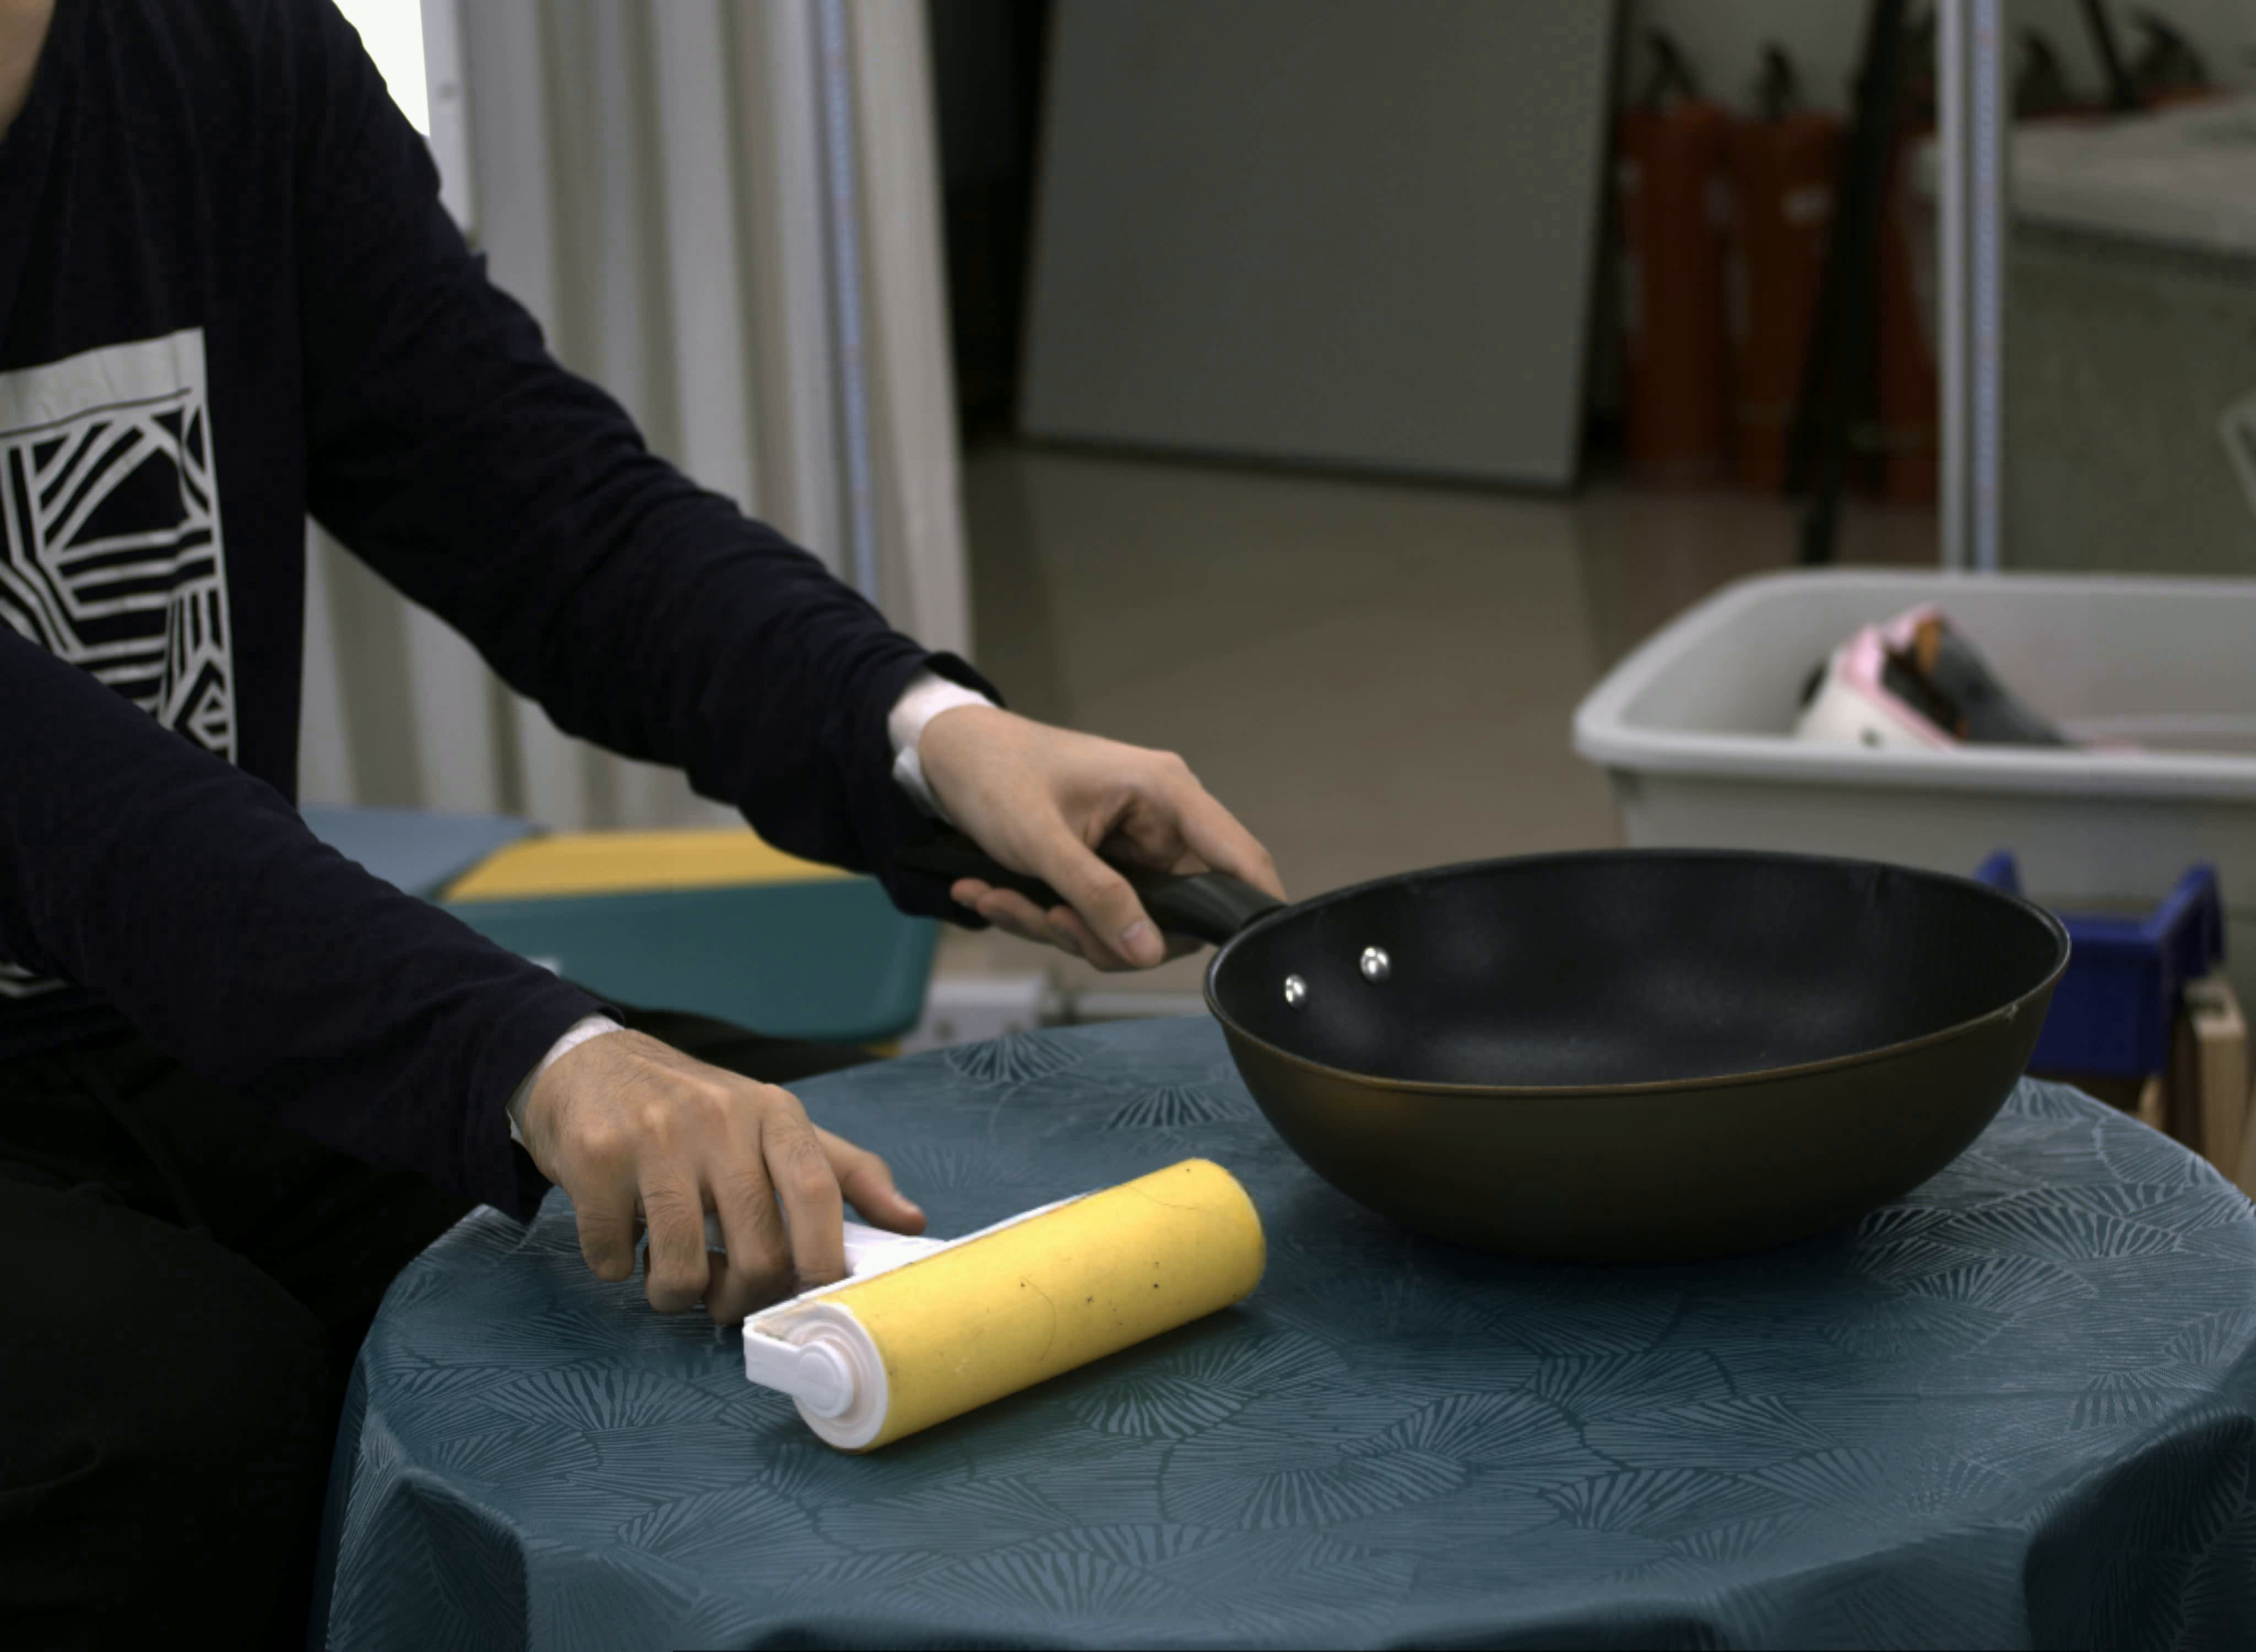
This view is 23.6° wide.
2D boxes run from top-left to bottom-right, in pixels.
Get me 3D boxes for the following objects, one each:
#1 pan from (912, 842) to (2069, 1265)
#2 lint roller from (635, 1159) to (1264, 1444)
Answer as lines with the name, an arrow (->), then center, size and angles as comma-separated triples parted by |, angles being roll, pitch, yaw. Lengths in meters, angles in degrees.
pan -> 0.095, 0.069, 1.786 | 0.467, 0.088, 0.282 | 8, 17, 42
lint roller -> -0.081, 0.127, 1.646 | 0.194, 0.052, 0.171 | 16, 22, 41
